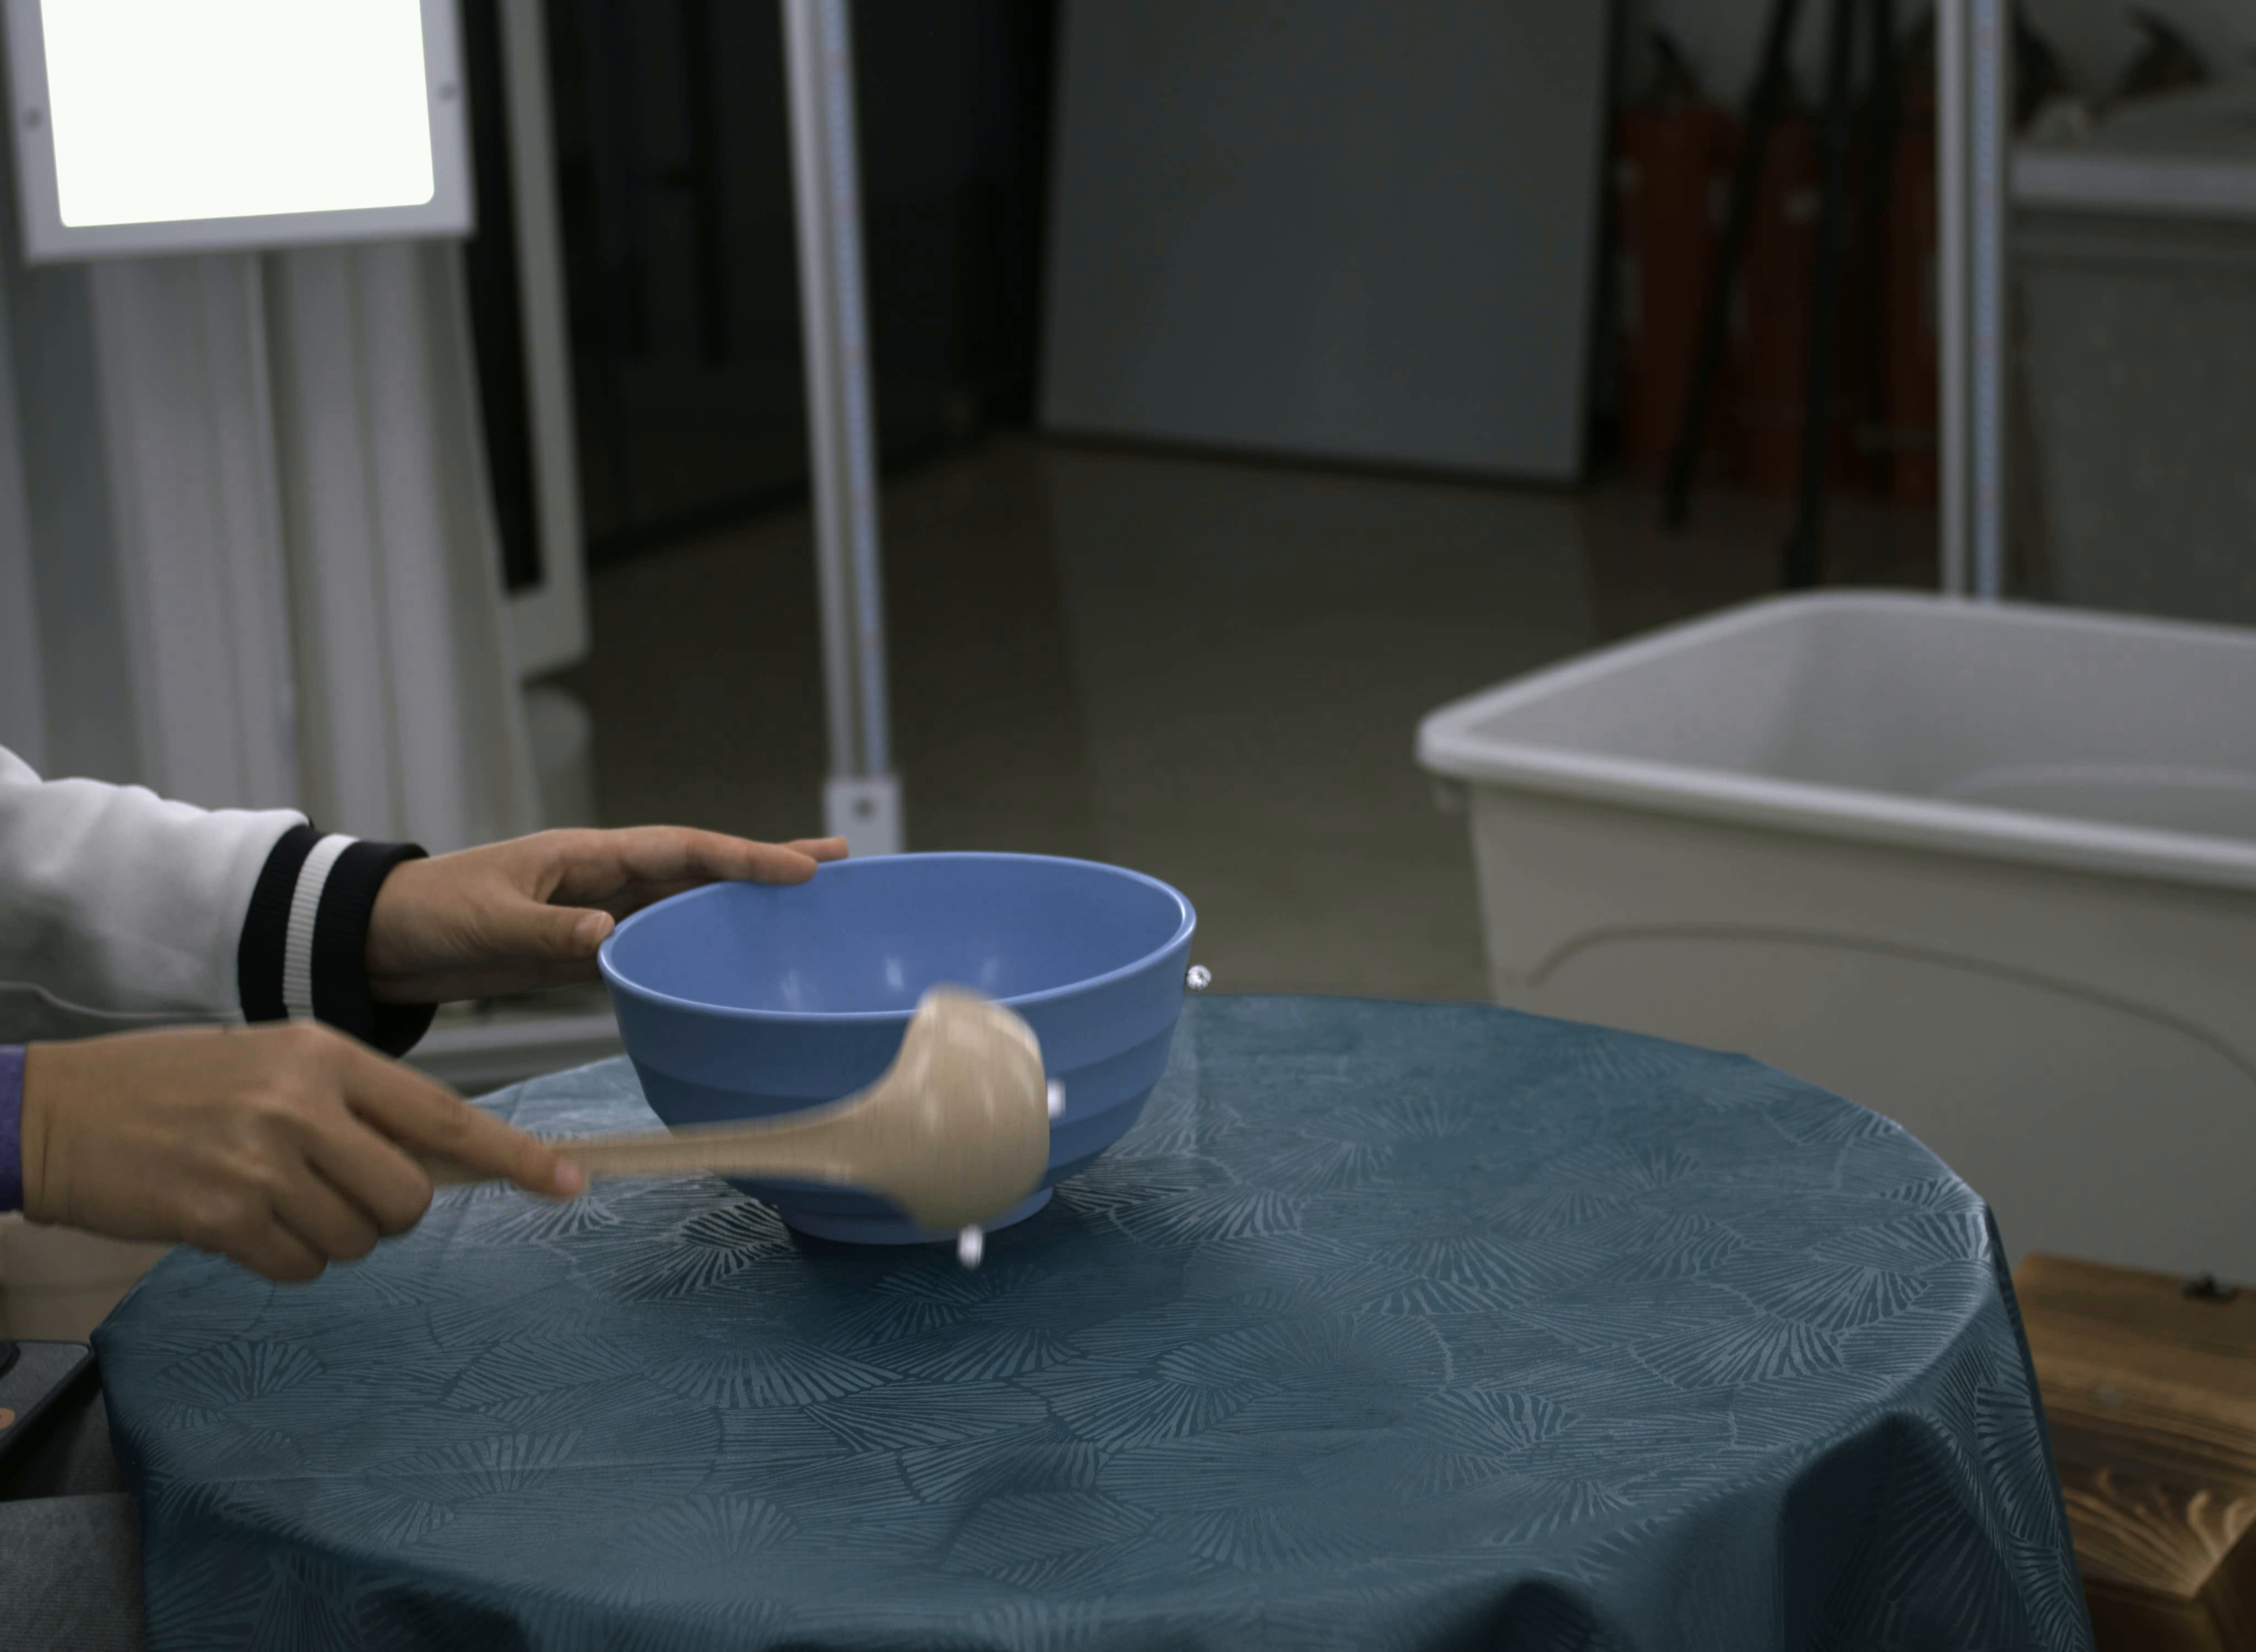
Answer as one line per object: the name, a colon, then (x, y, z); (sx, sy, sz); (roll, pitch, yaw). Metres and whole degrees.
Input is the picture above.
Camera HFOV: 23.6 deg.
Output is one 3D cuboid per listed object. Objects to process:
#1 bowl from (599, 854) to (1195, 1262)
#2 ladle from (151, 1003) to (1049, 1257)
bowl: (-0.072, 0.082, 1.765); (0.194, 0.096, 0.197); (-4, 15, 0)
ladle: (-0.149, 0.086, 1.547); (0.250, 0.073, 0.073); (1, 16, -3)
